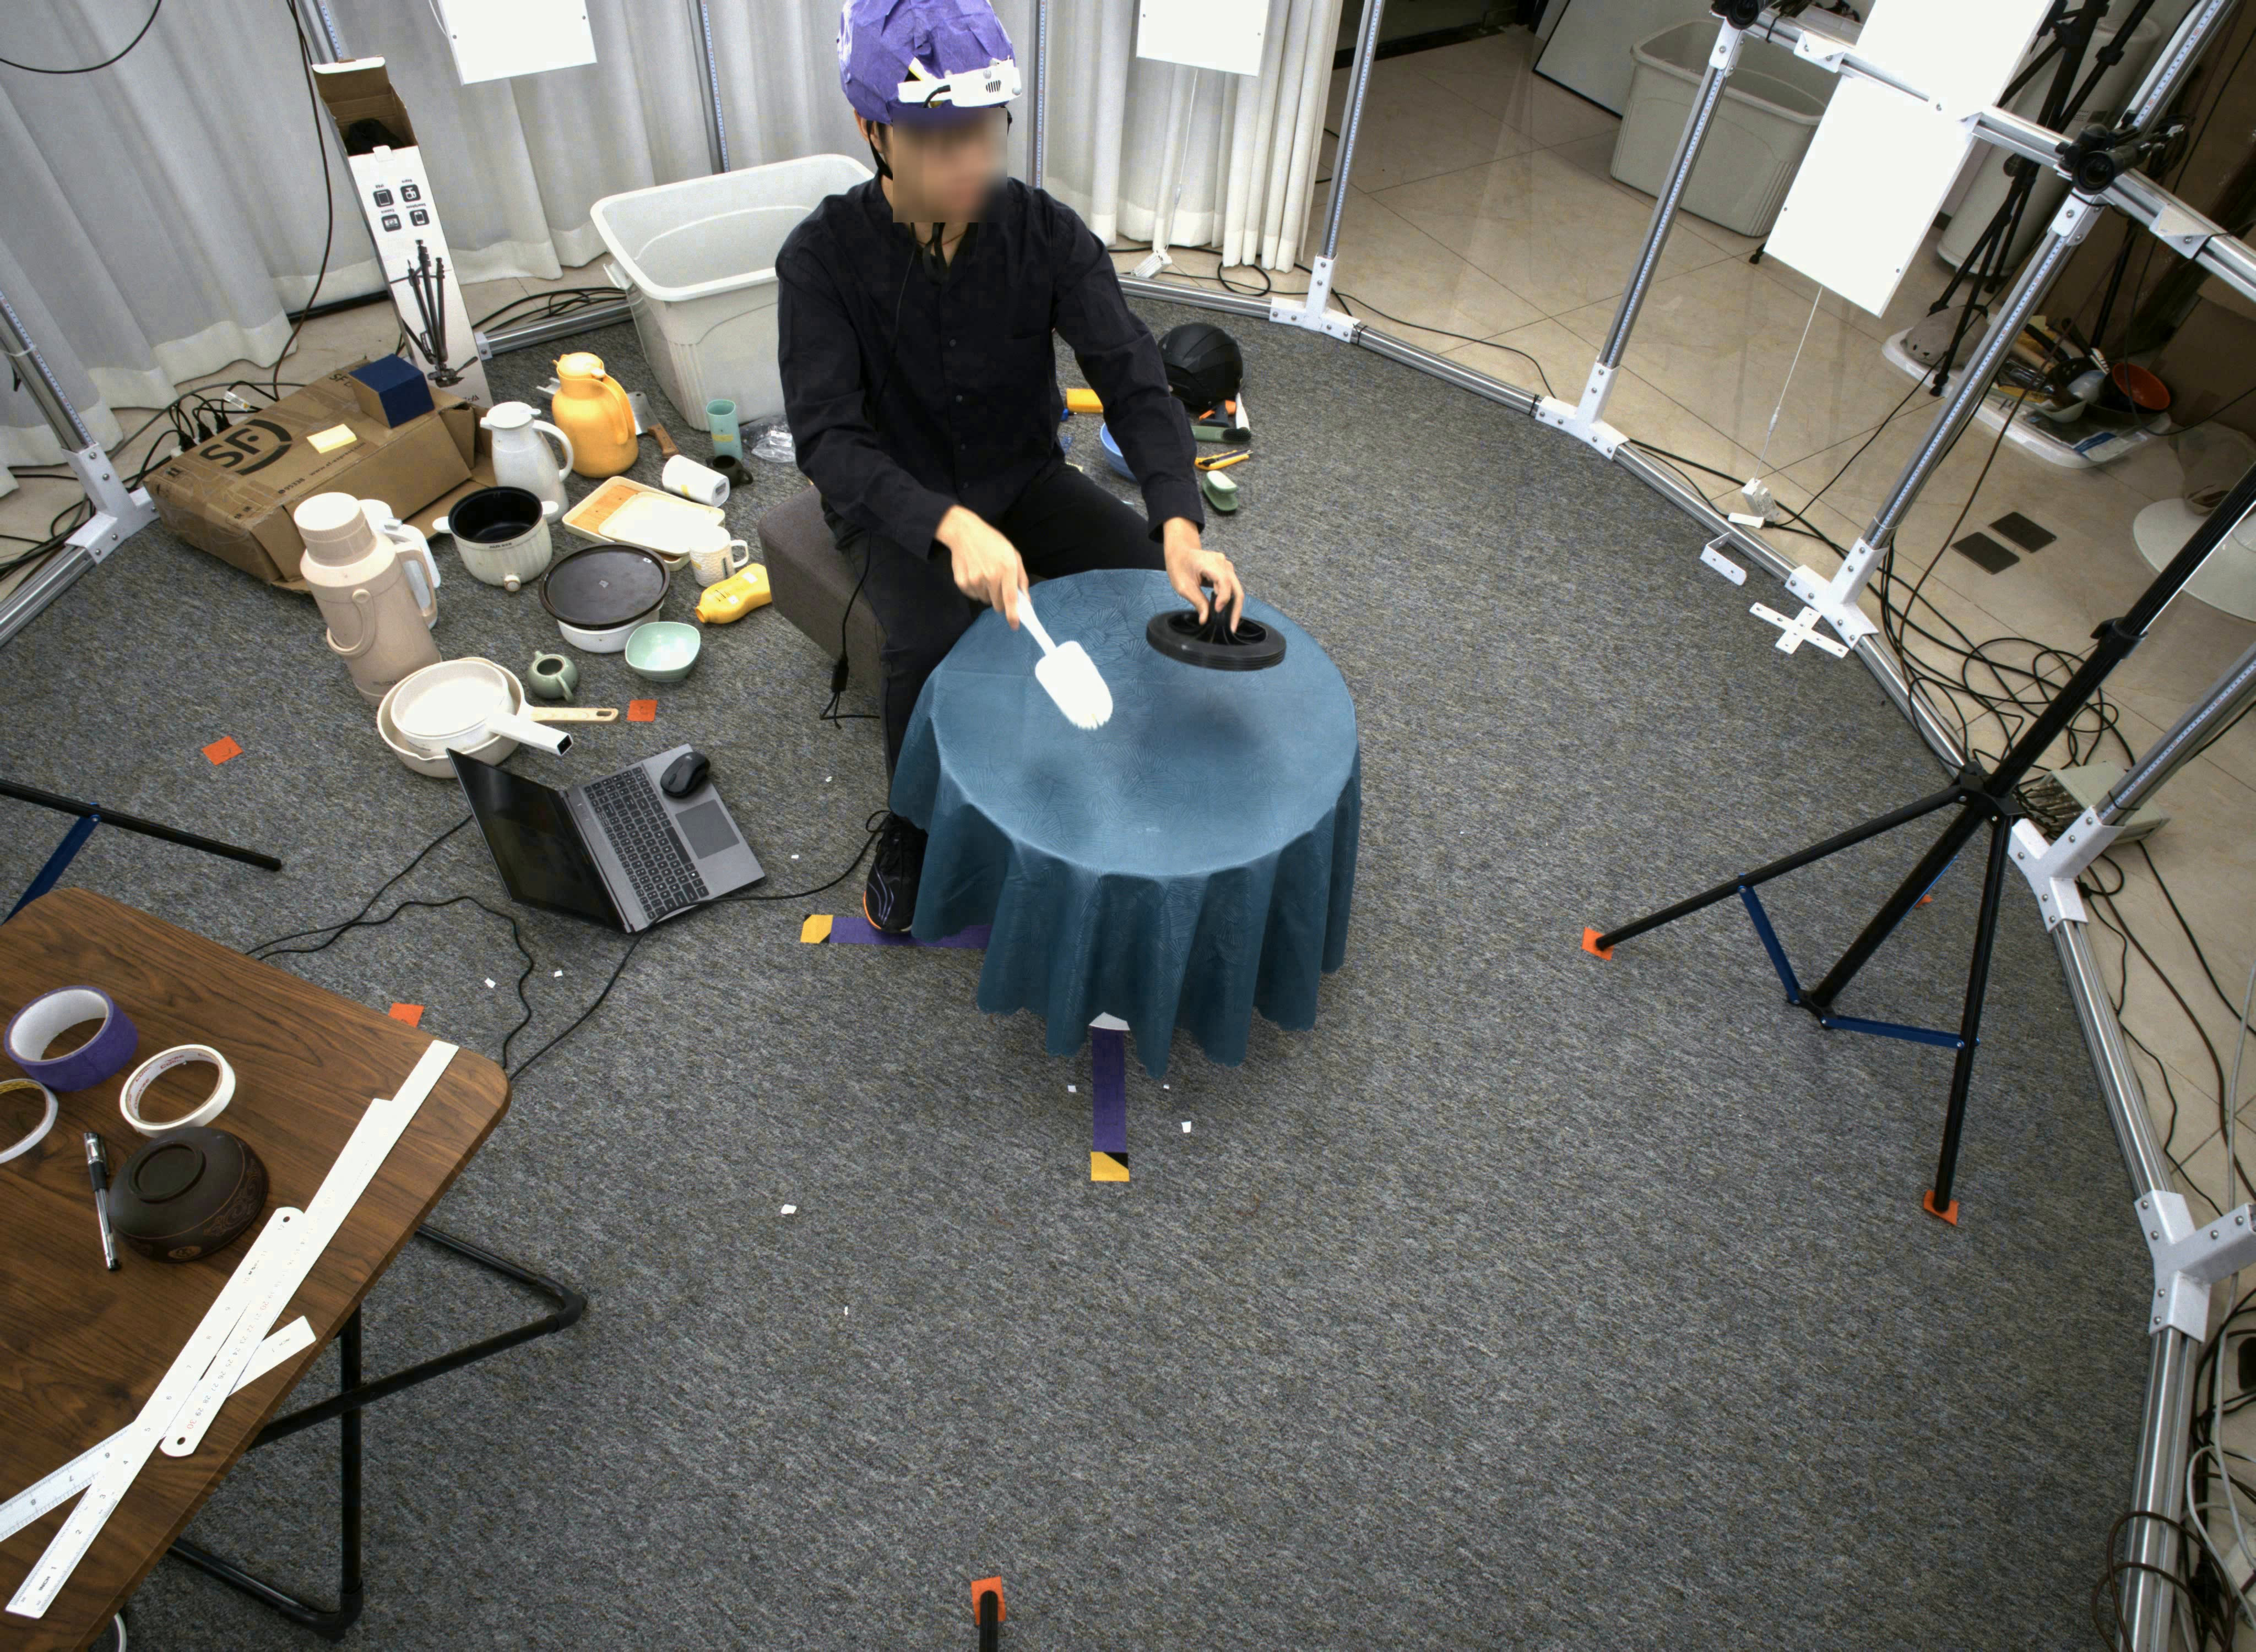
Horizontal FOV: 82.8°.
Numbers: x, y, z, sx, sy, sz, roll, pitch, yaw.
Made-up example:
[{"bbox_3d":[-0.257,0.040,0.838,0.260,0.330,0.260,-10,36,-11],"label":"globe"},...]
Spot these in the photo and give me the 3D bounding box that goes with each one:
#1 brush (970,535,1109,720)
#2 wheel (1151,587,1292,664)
[{"bbox_3d":[-0.114,-0.262,1.704,0.083,0.083,0.332,-15,56,-31],"label":"brush"},{"bbox_3d":[0.128,-0.277,1.718,0.190,0.077,0.190,12,27,11],"label":"wheel"}]
